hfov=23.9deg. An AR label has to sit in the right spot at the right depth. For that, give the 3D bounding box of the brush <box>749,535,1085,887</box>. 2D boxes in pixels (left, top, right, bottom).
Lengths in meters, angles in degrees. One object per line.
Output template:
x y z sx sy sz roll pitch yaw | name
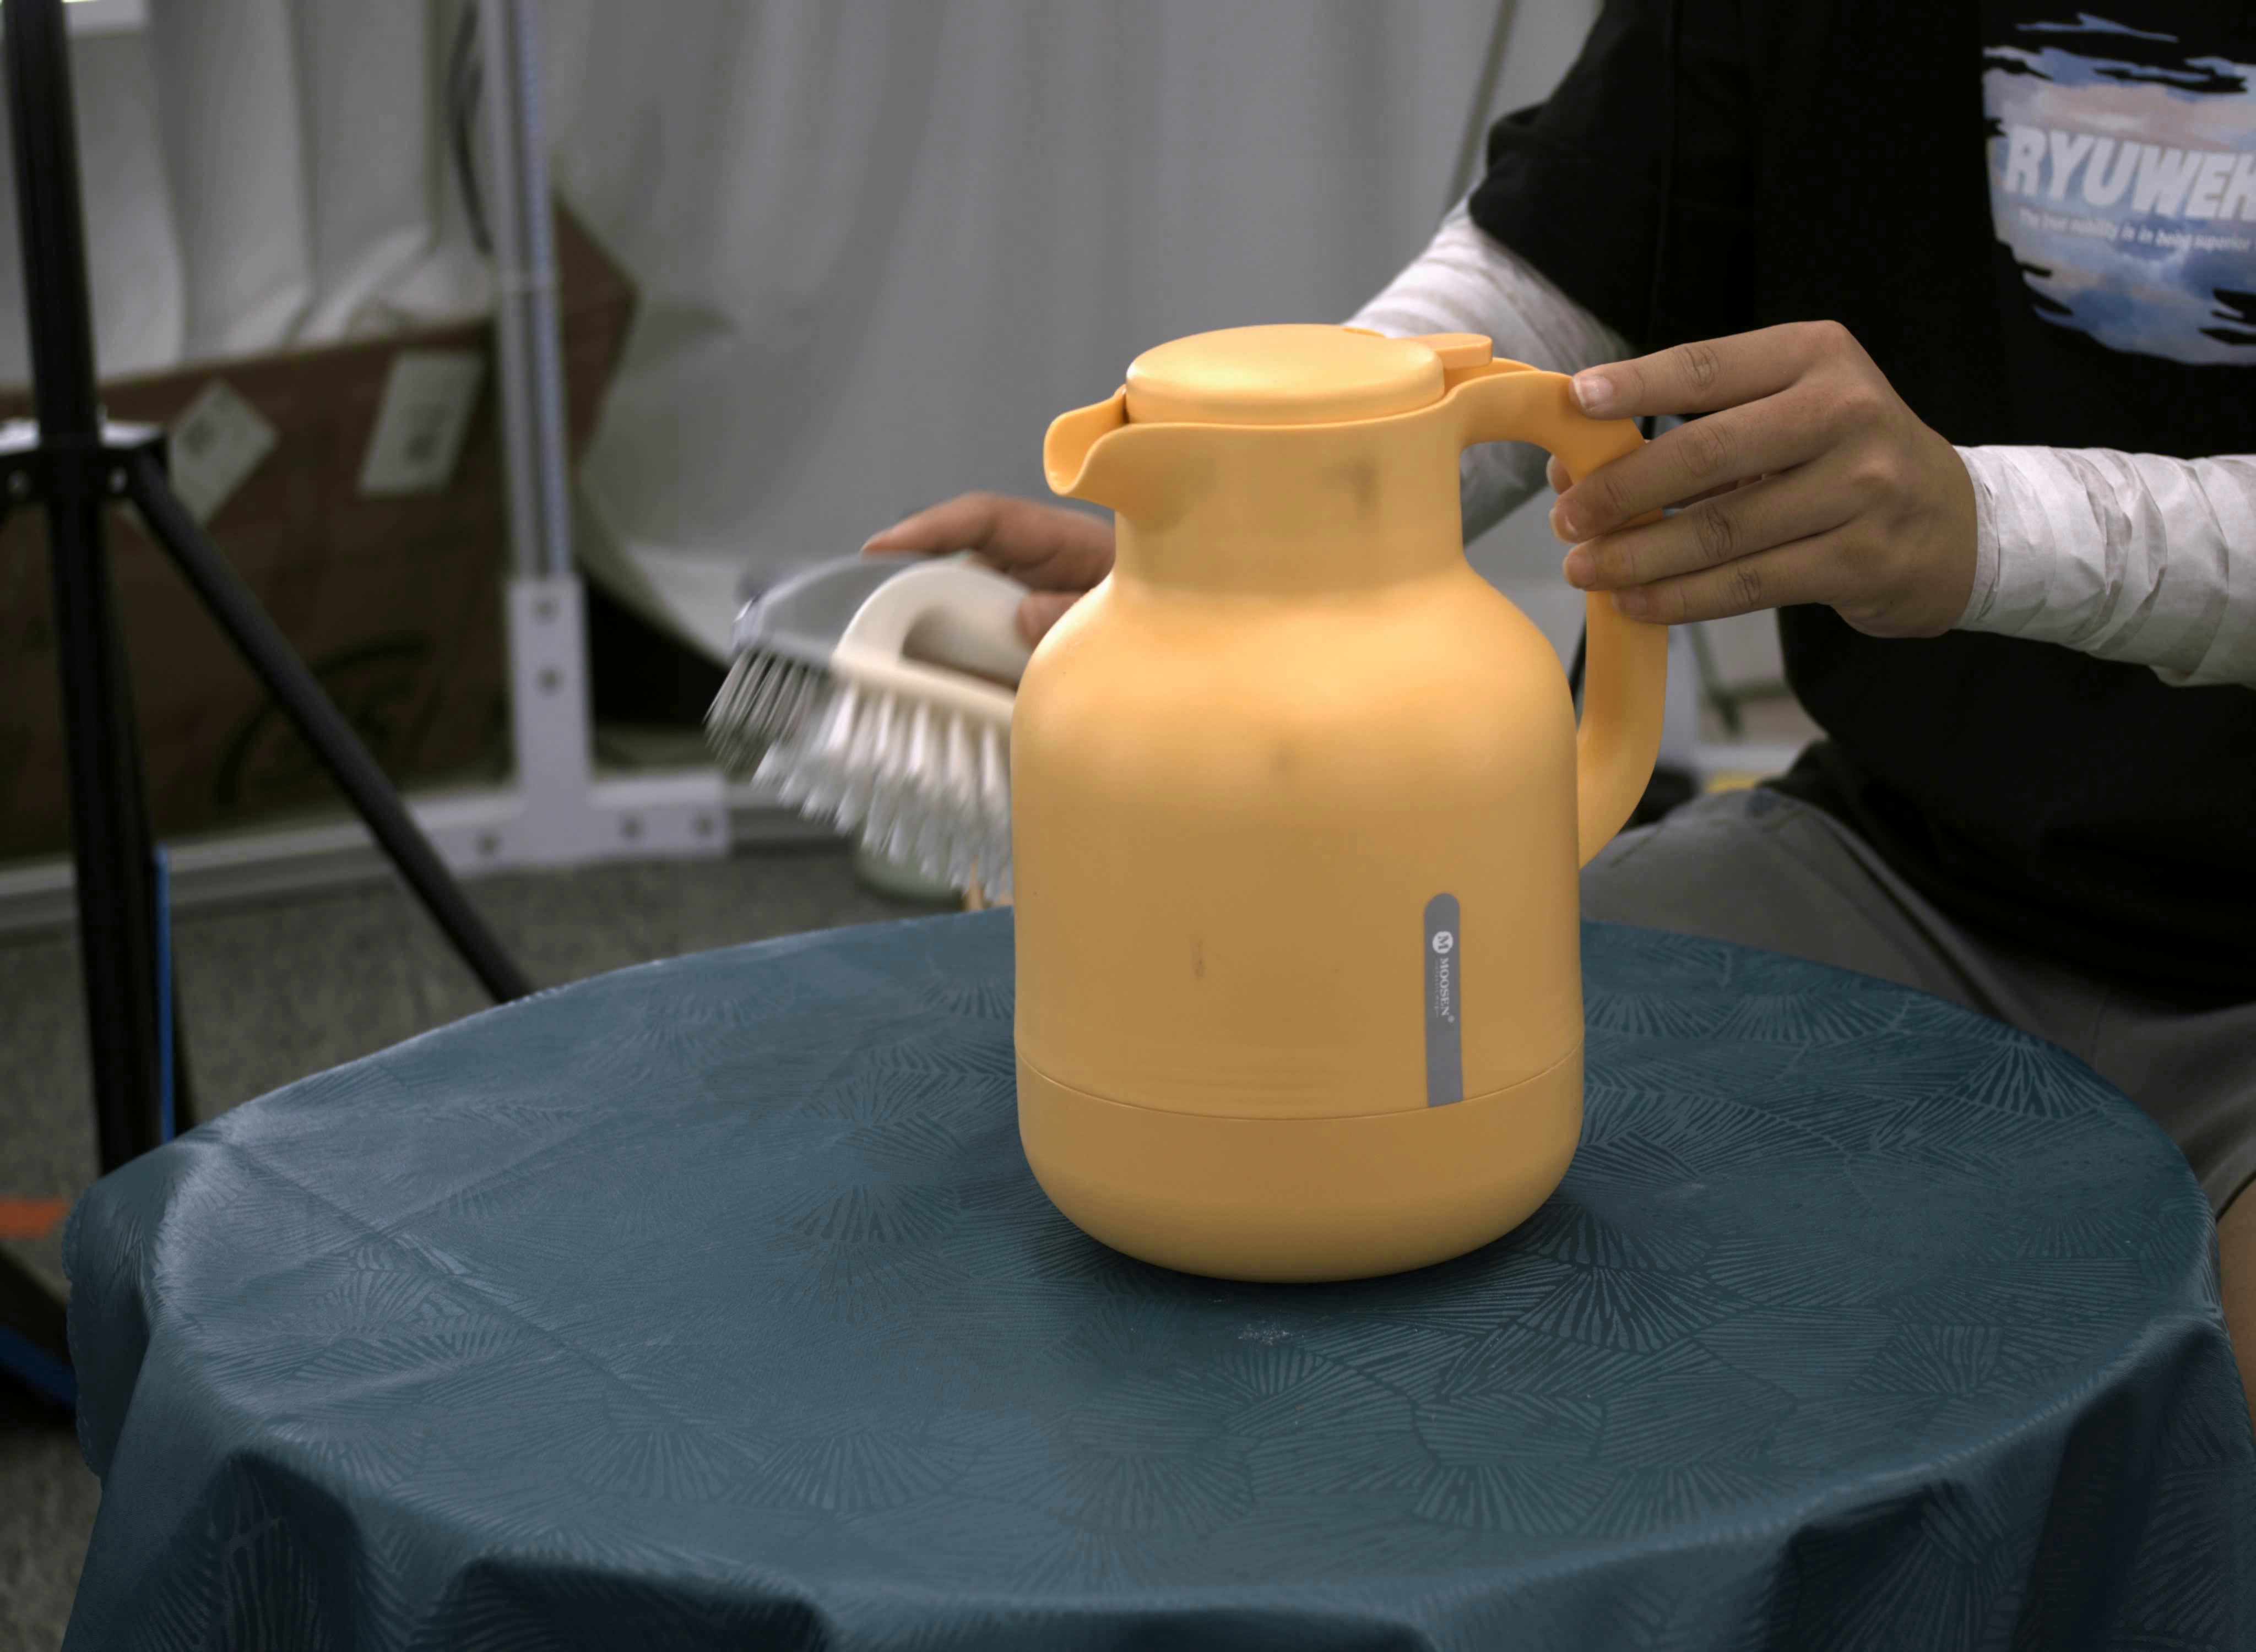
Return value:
-0.054 -0.046 1.633 0.062 0.095 0.171 -24 -34 37 | brush

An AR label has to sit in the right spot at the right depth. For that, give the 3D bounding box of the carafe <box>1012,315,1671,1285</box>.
0.066 -0.014 1.505 0.198 0.260 0.167 -10 19 -24 | carafe
